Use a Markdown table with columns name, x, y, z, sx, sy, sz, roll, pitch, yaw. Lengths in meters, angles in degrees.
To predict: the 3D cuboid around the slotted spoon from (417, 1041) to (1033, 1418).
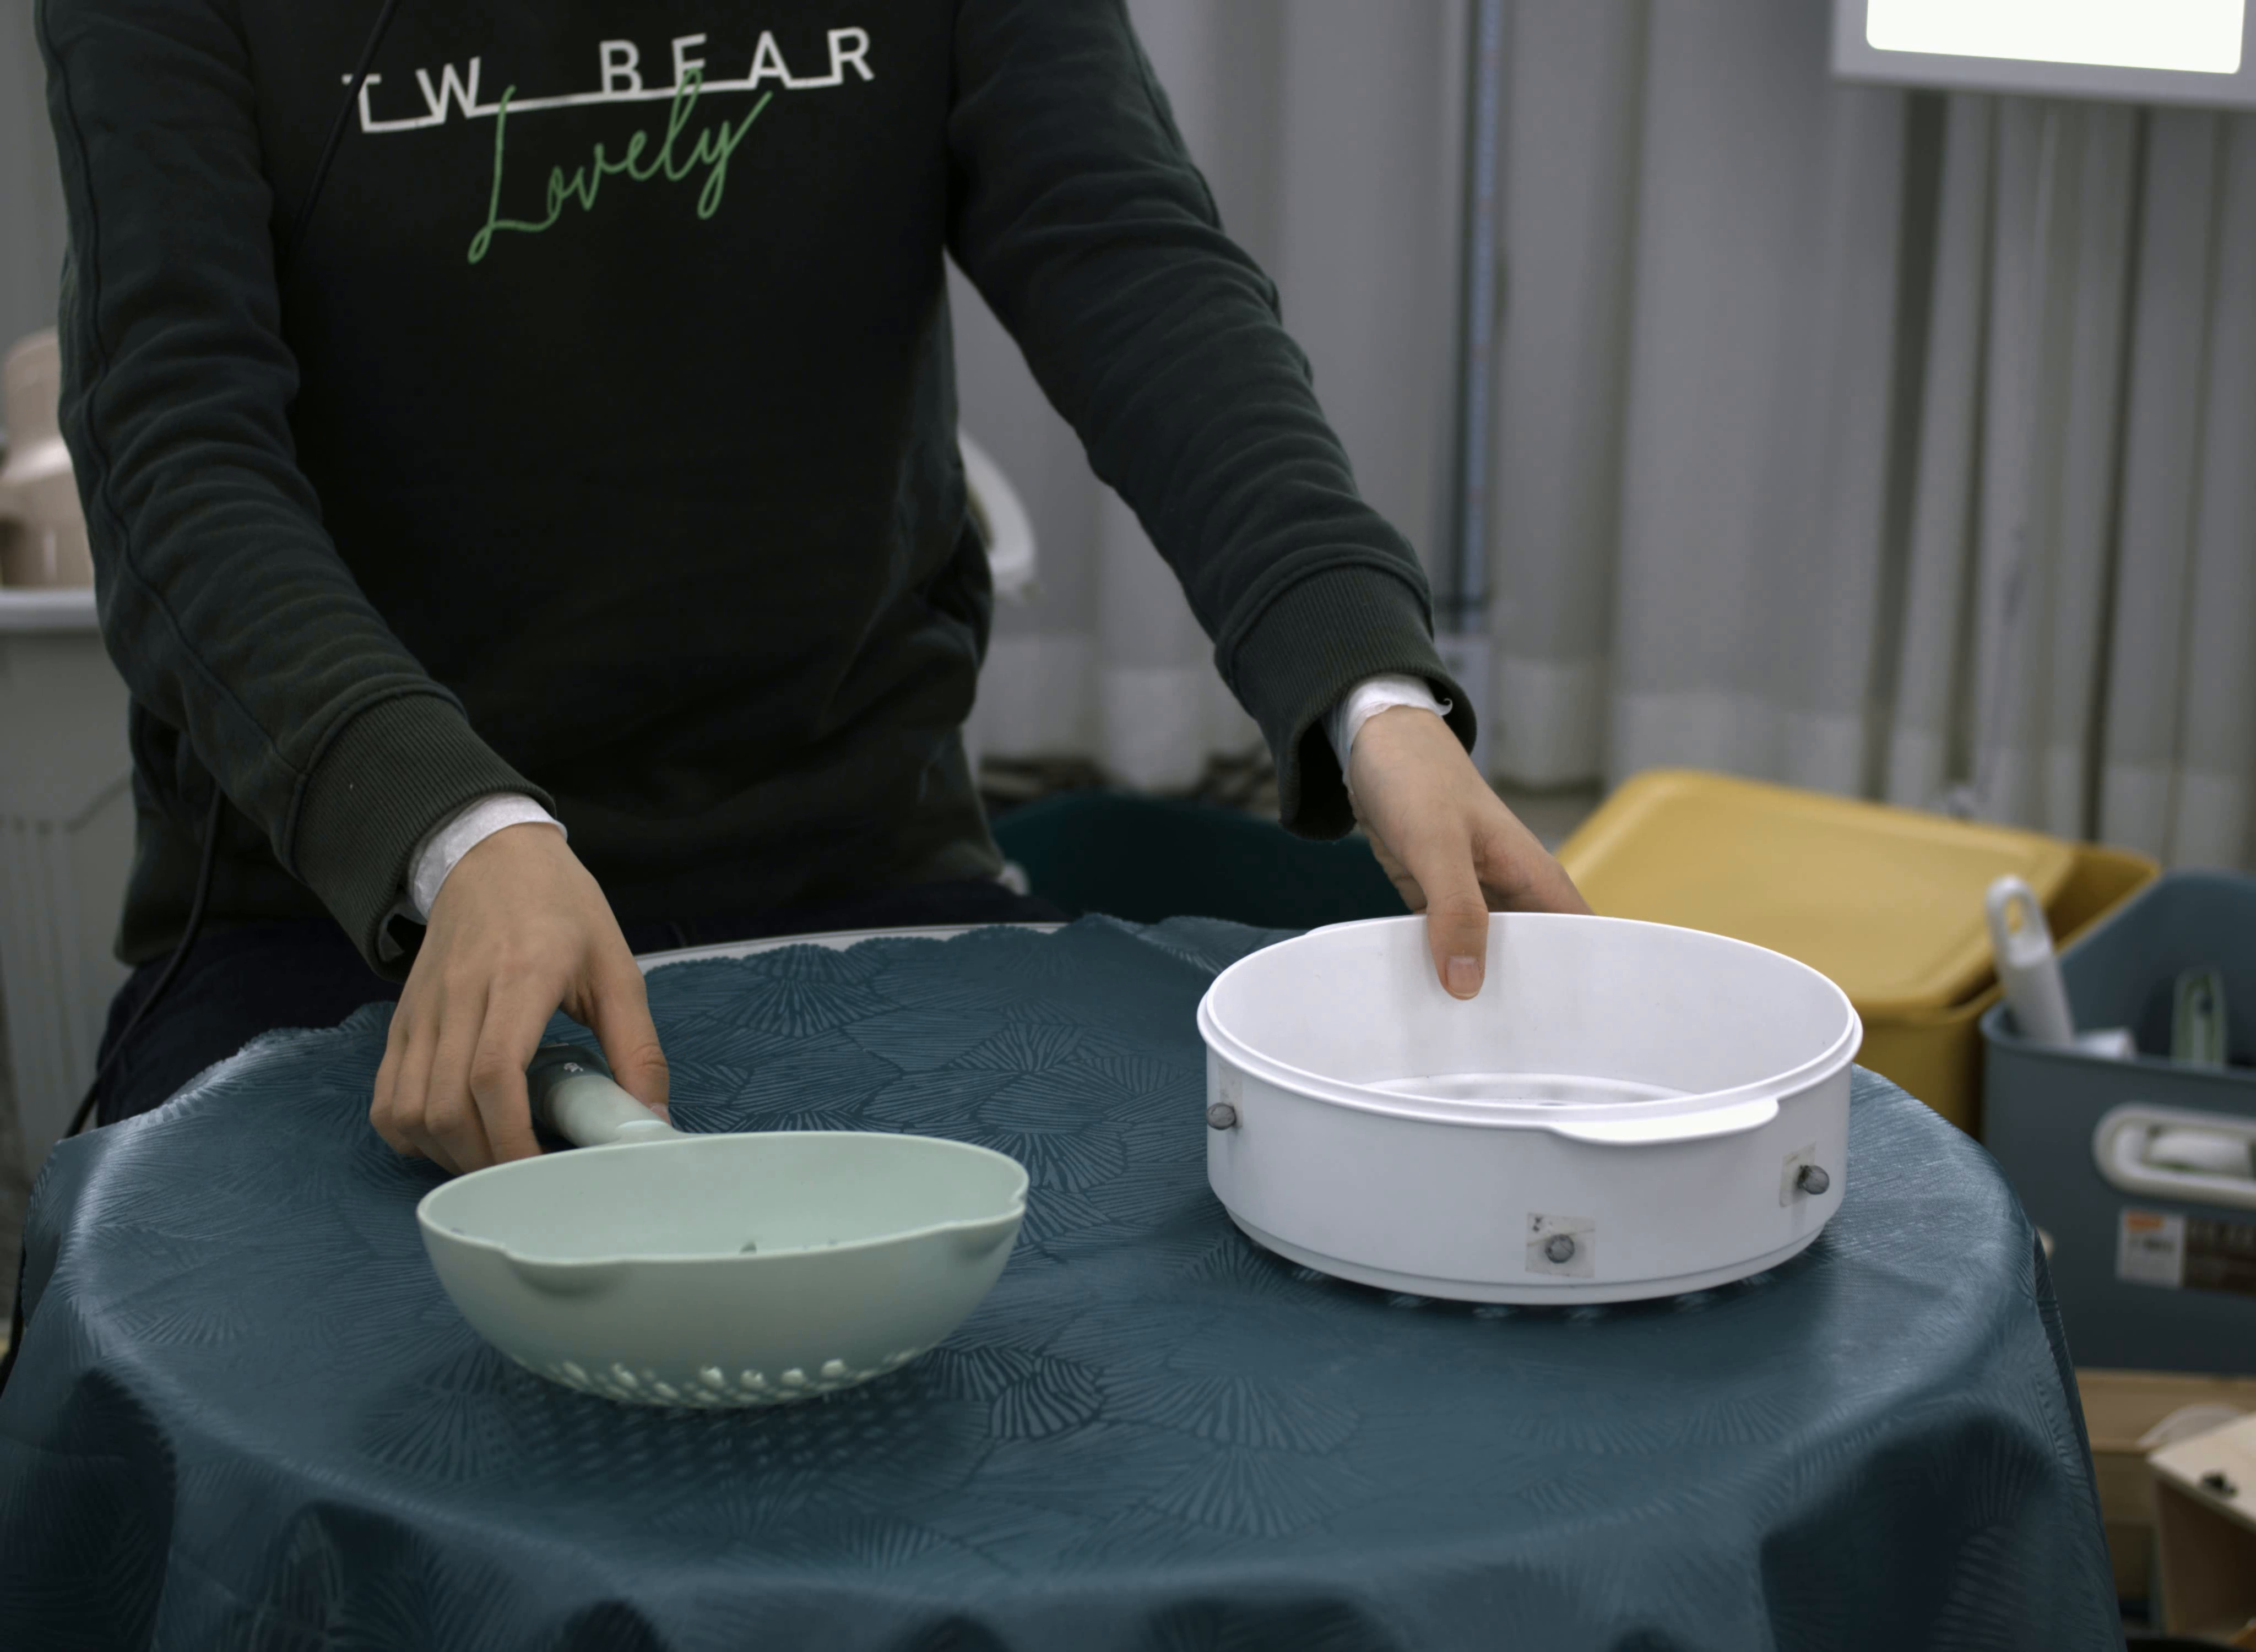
| name | x | y | z | sx | sy | sz | roll | pitch | yaw |
| --- | --- | --- | --- | --- | --- | --- | --- | --- | --- |
| slotted spoon | -0.138 | 0.101 | 1.541 | 0.169 | 0.076 | 0.355 | -4 | 17 | -17 |

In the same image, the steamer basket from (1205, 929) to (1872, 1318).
| name | x | y | z | sx | sy | sz | roll | pitch | yaw |
| --- | --- | --- | --- | --- | --- | --- | --- | --- | --- |
| steamer basket | 0.123 | 0.089 | 1.597 | 0.202 | 0.070 | 0.228 | -5 | 16 | -21 |
